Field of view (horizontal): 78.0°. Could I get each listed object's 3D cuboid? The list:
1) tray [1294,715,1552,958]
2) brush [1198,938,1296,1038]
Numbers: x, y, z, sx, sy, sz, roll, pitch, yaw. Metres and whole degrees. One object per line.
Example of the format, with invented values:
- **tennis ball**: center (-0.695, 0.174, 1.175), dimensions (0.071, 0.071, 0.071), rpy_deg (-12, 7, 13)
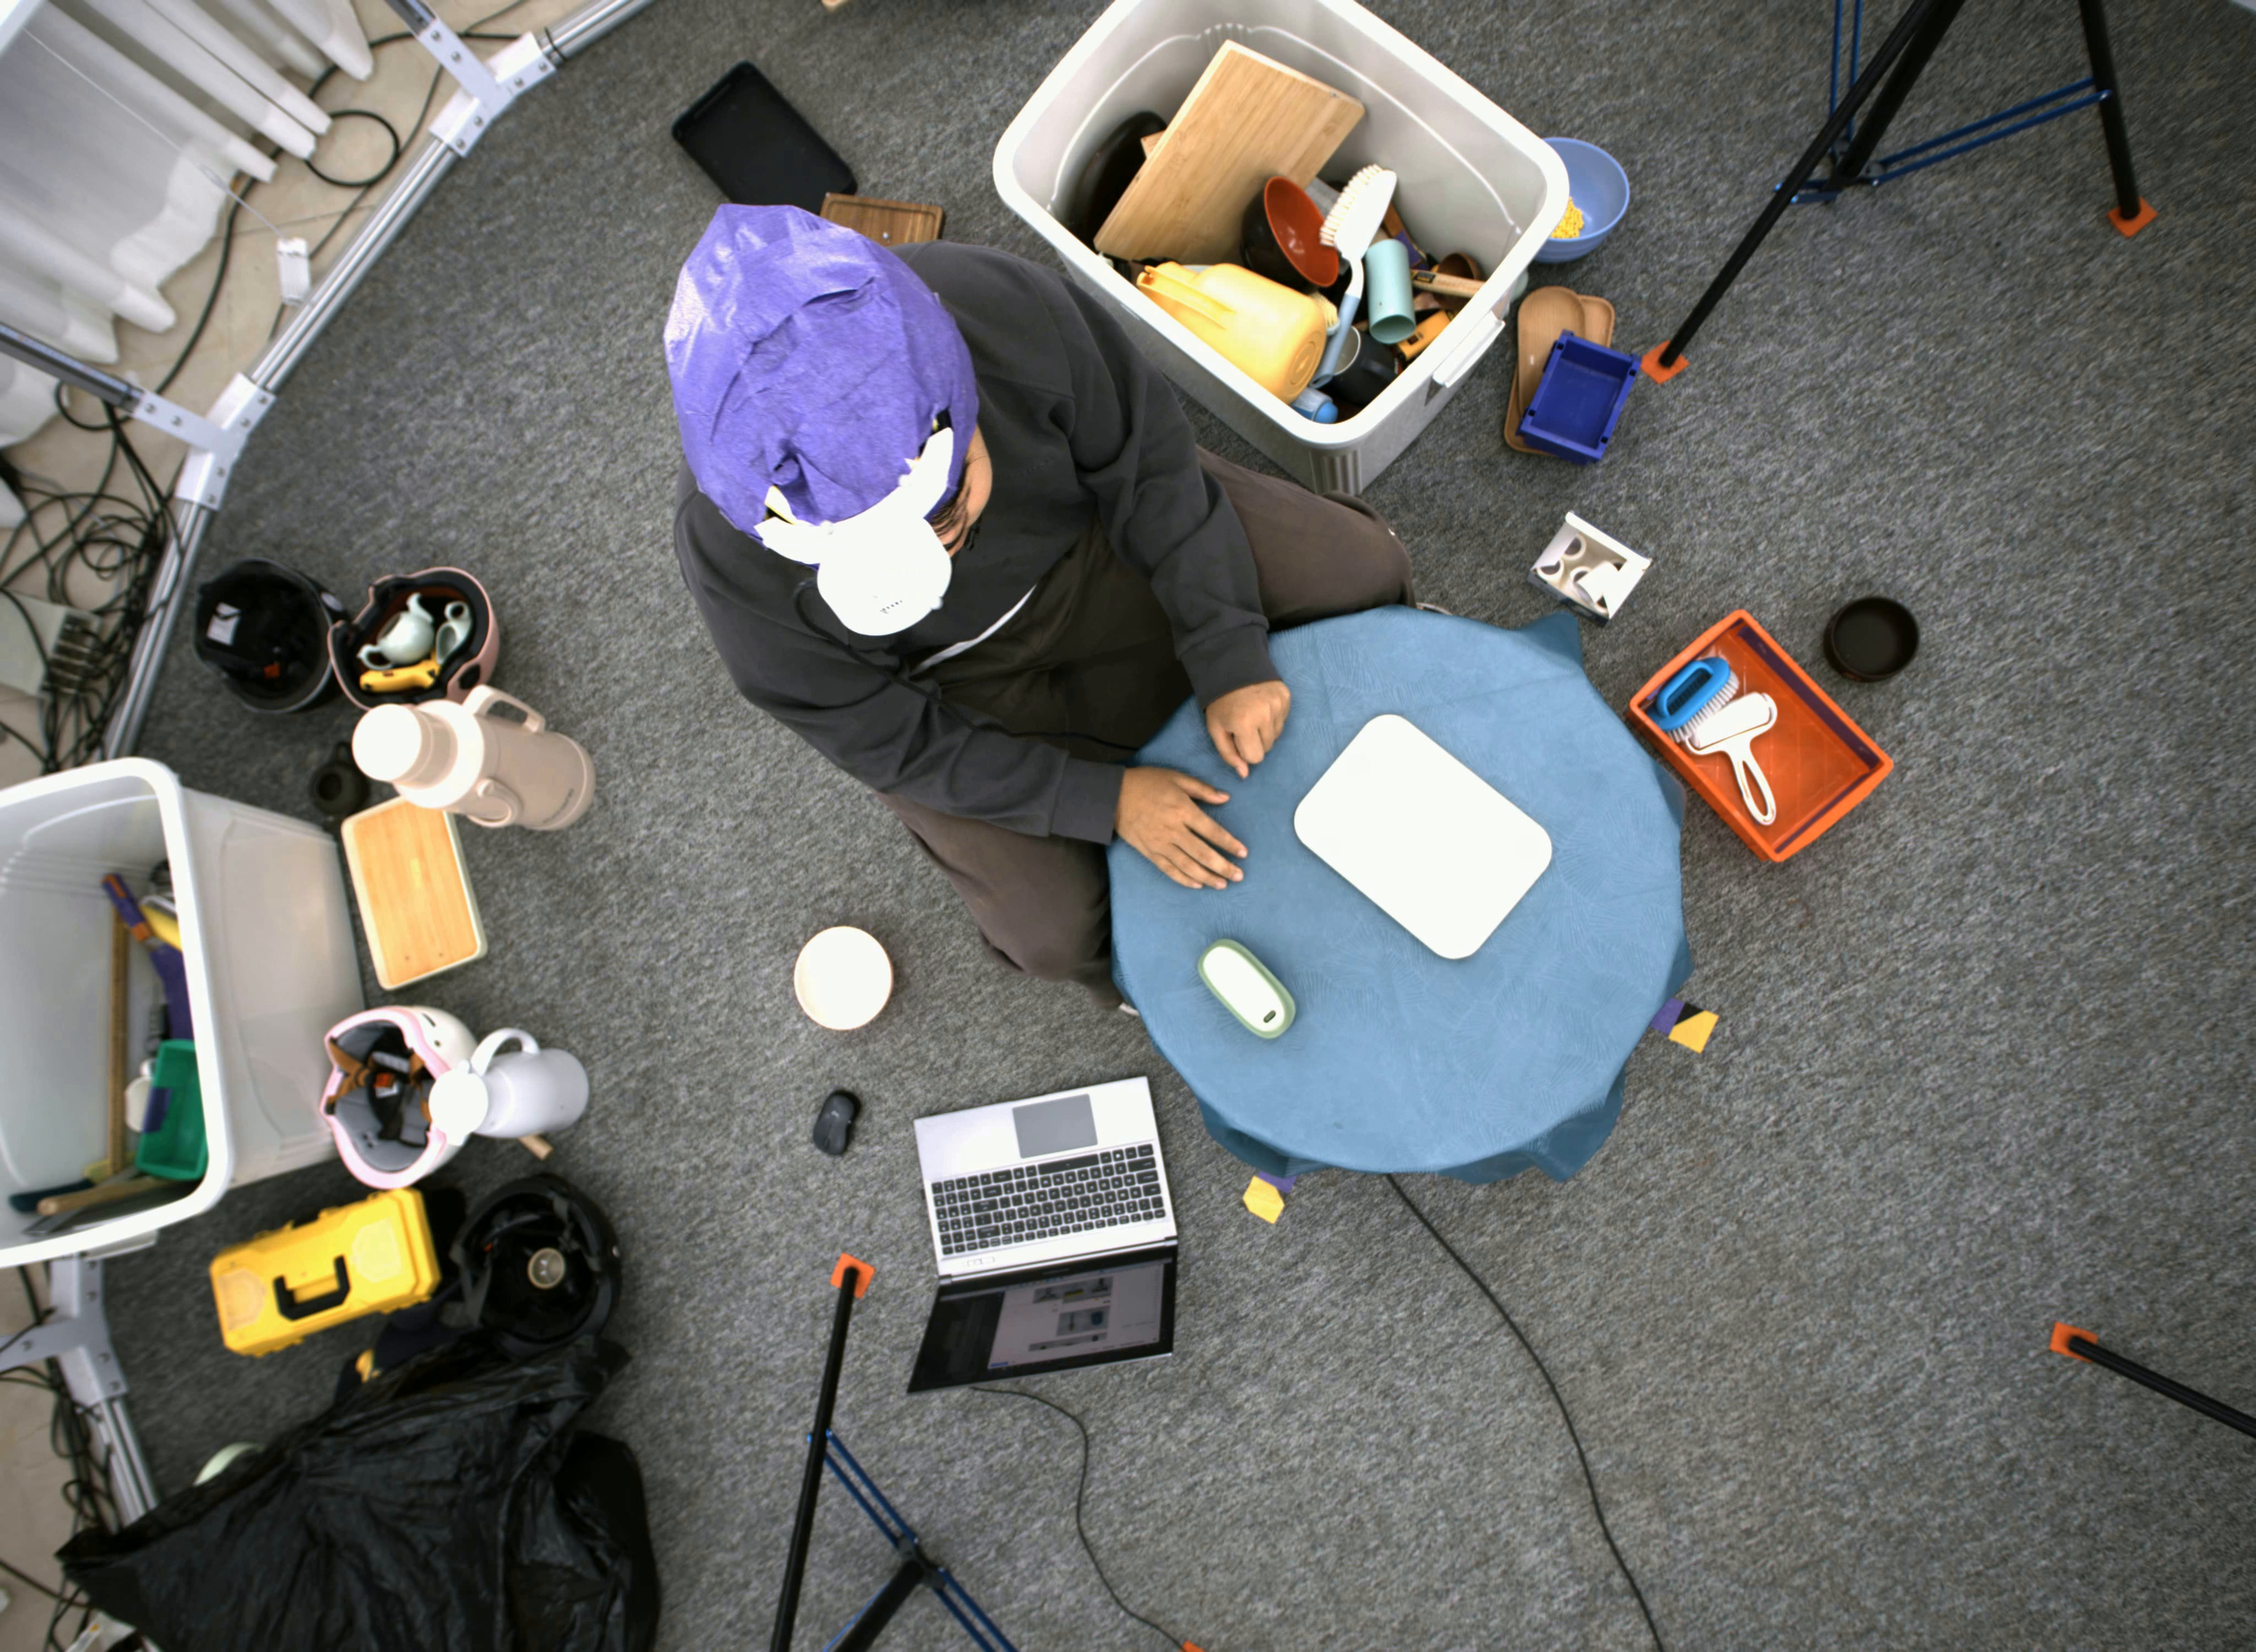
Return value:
- **tray**: center (0.308, 0.009, 1.448), dimensions (0.238, 0.017, 0.172), rpy_deg (40, 94, 11)
- **brush**: center (0.125, 0.170, 1.456), dimensions (0.060, 0.076, 0.121), rpy_deg (-45, 66, 2)
